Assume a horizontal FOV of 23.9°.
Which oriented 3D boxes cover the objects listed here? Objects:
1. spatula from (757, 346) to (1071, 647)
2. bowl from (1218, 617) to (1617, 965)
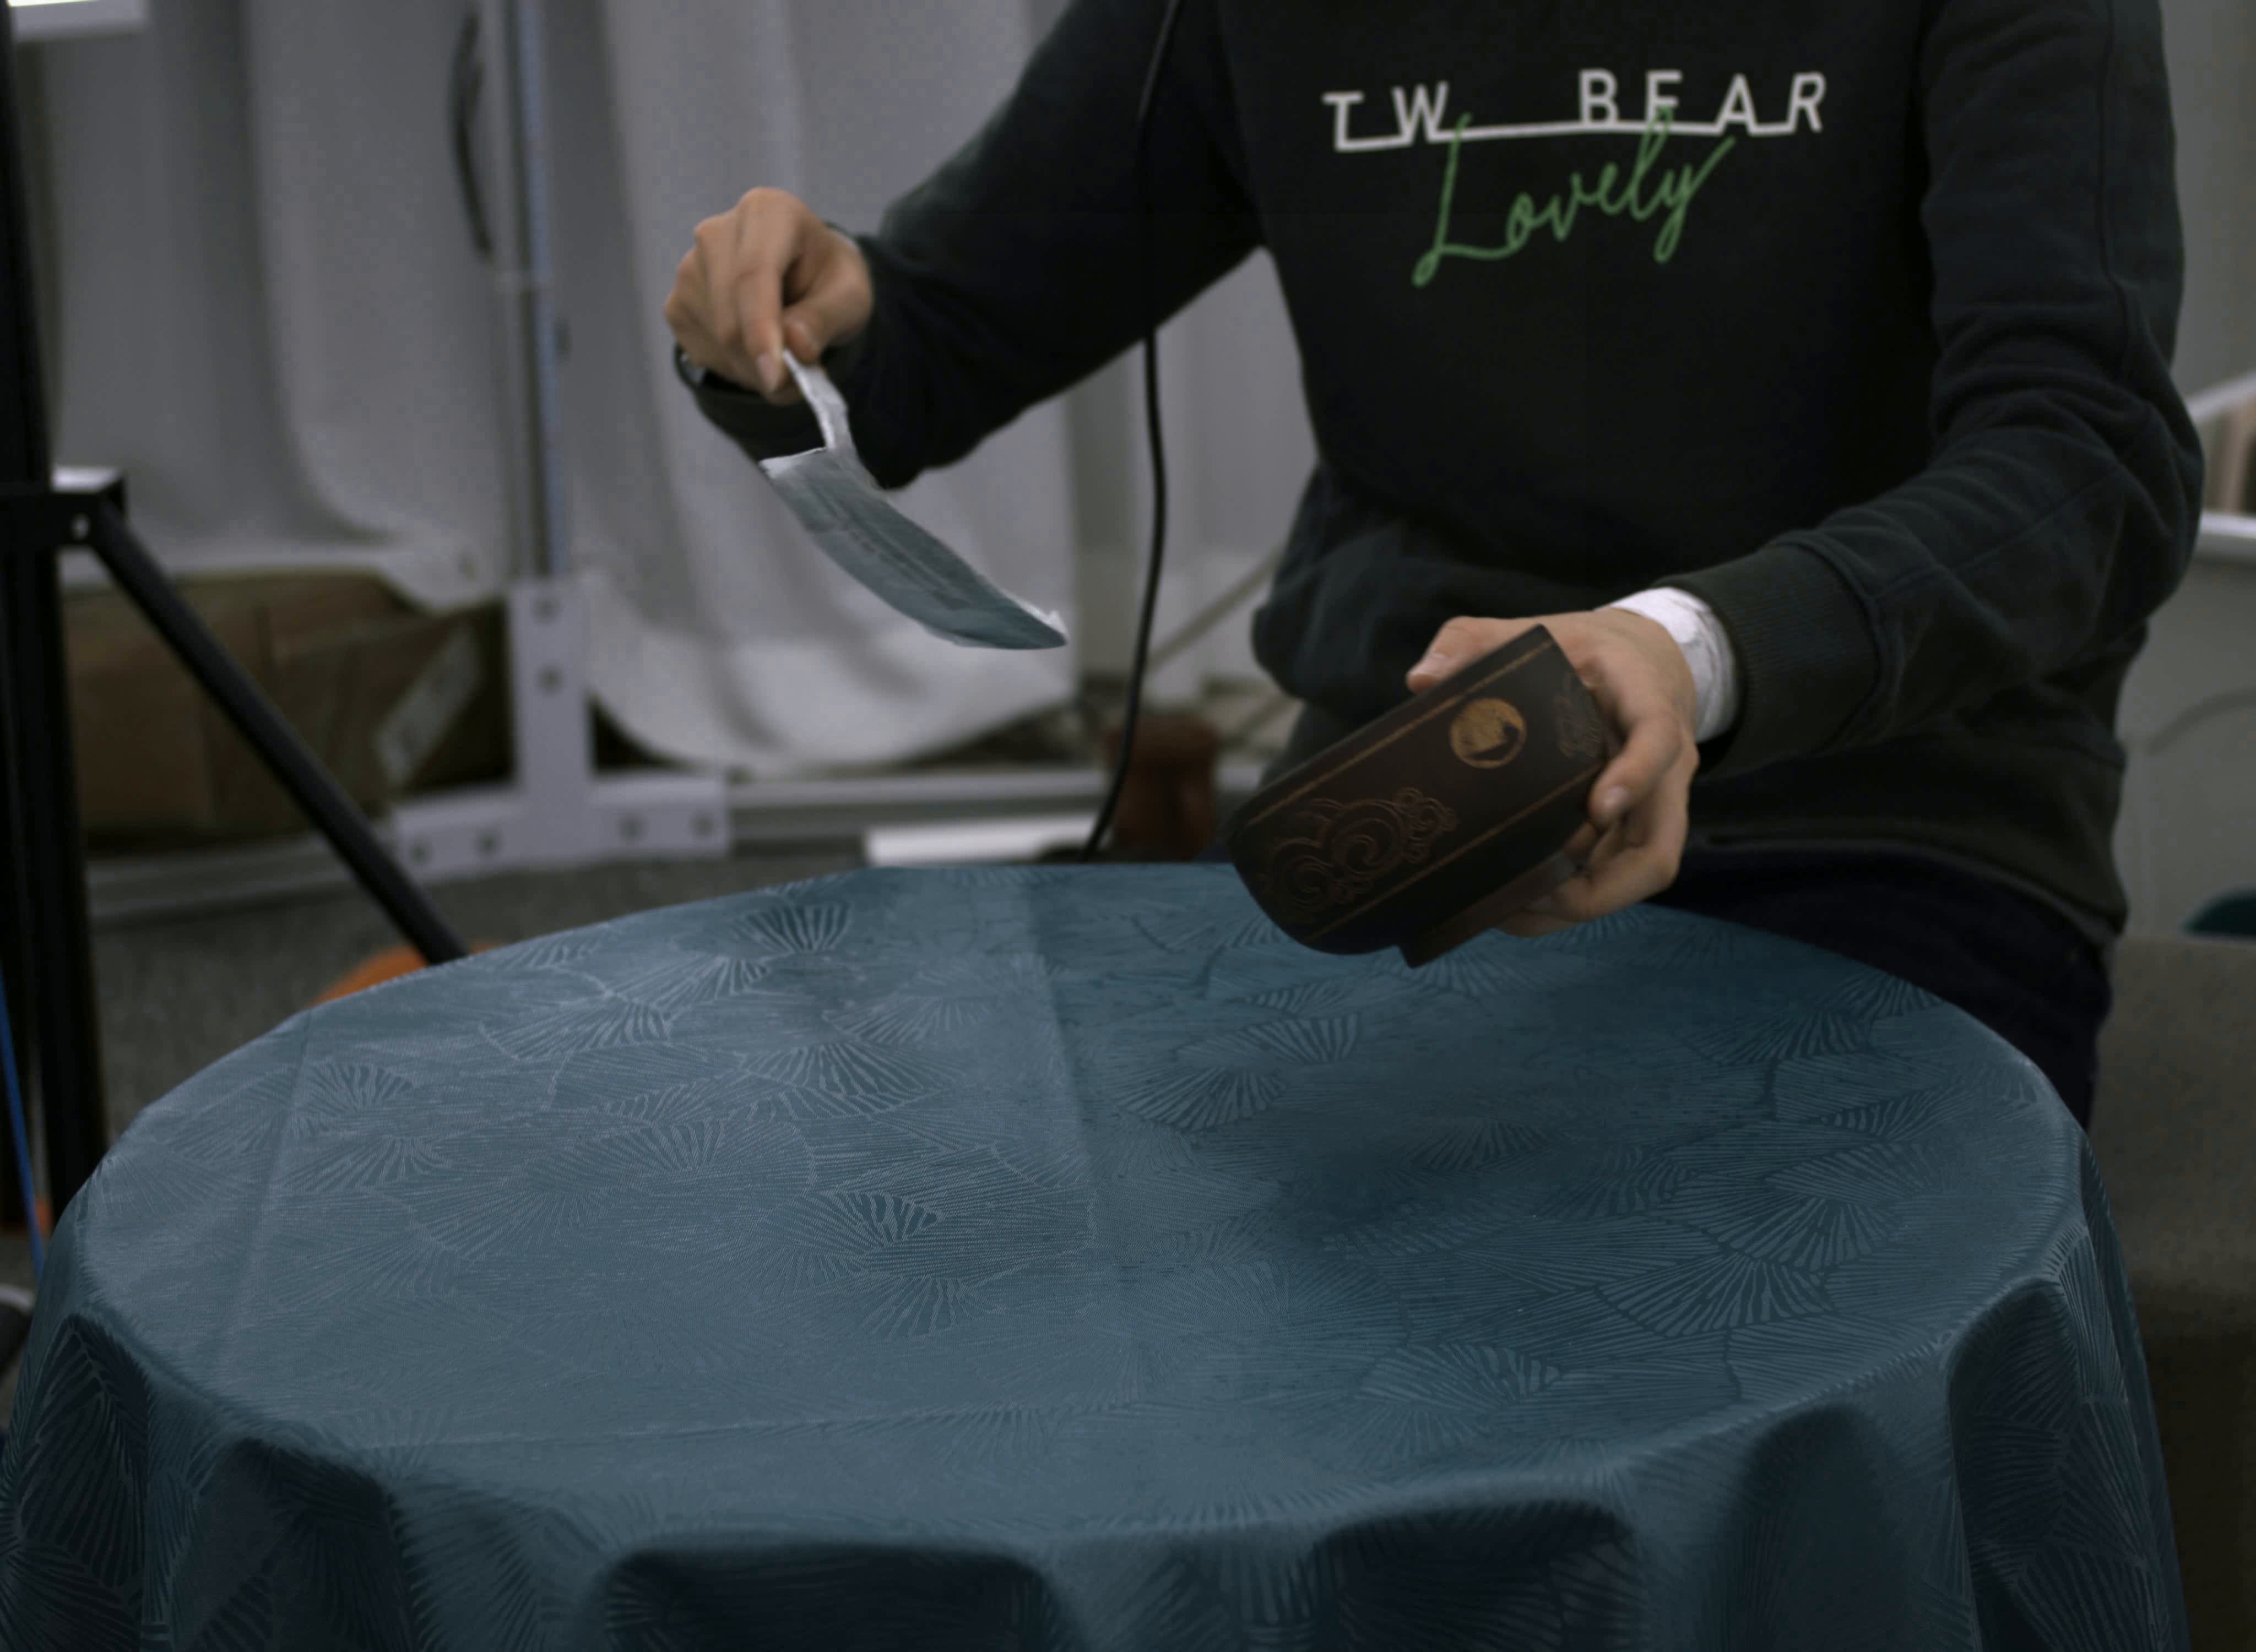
[{"bbox_3d":[-0.090,-0.123,1.733,0.097,0.045,0.369,36,9,-18],"label":"spatula"},{"bbox_3d":[0.092,-0.003,1.555,0.117,0.070,0.118,-29,-1,-2],"label":"bowl"}]
